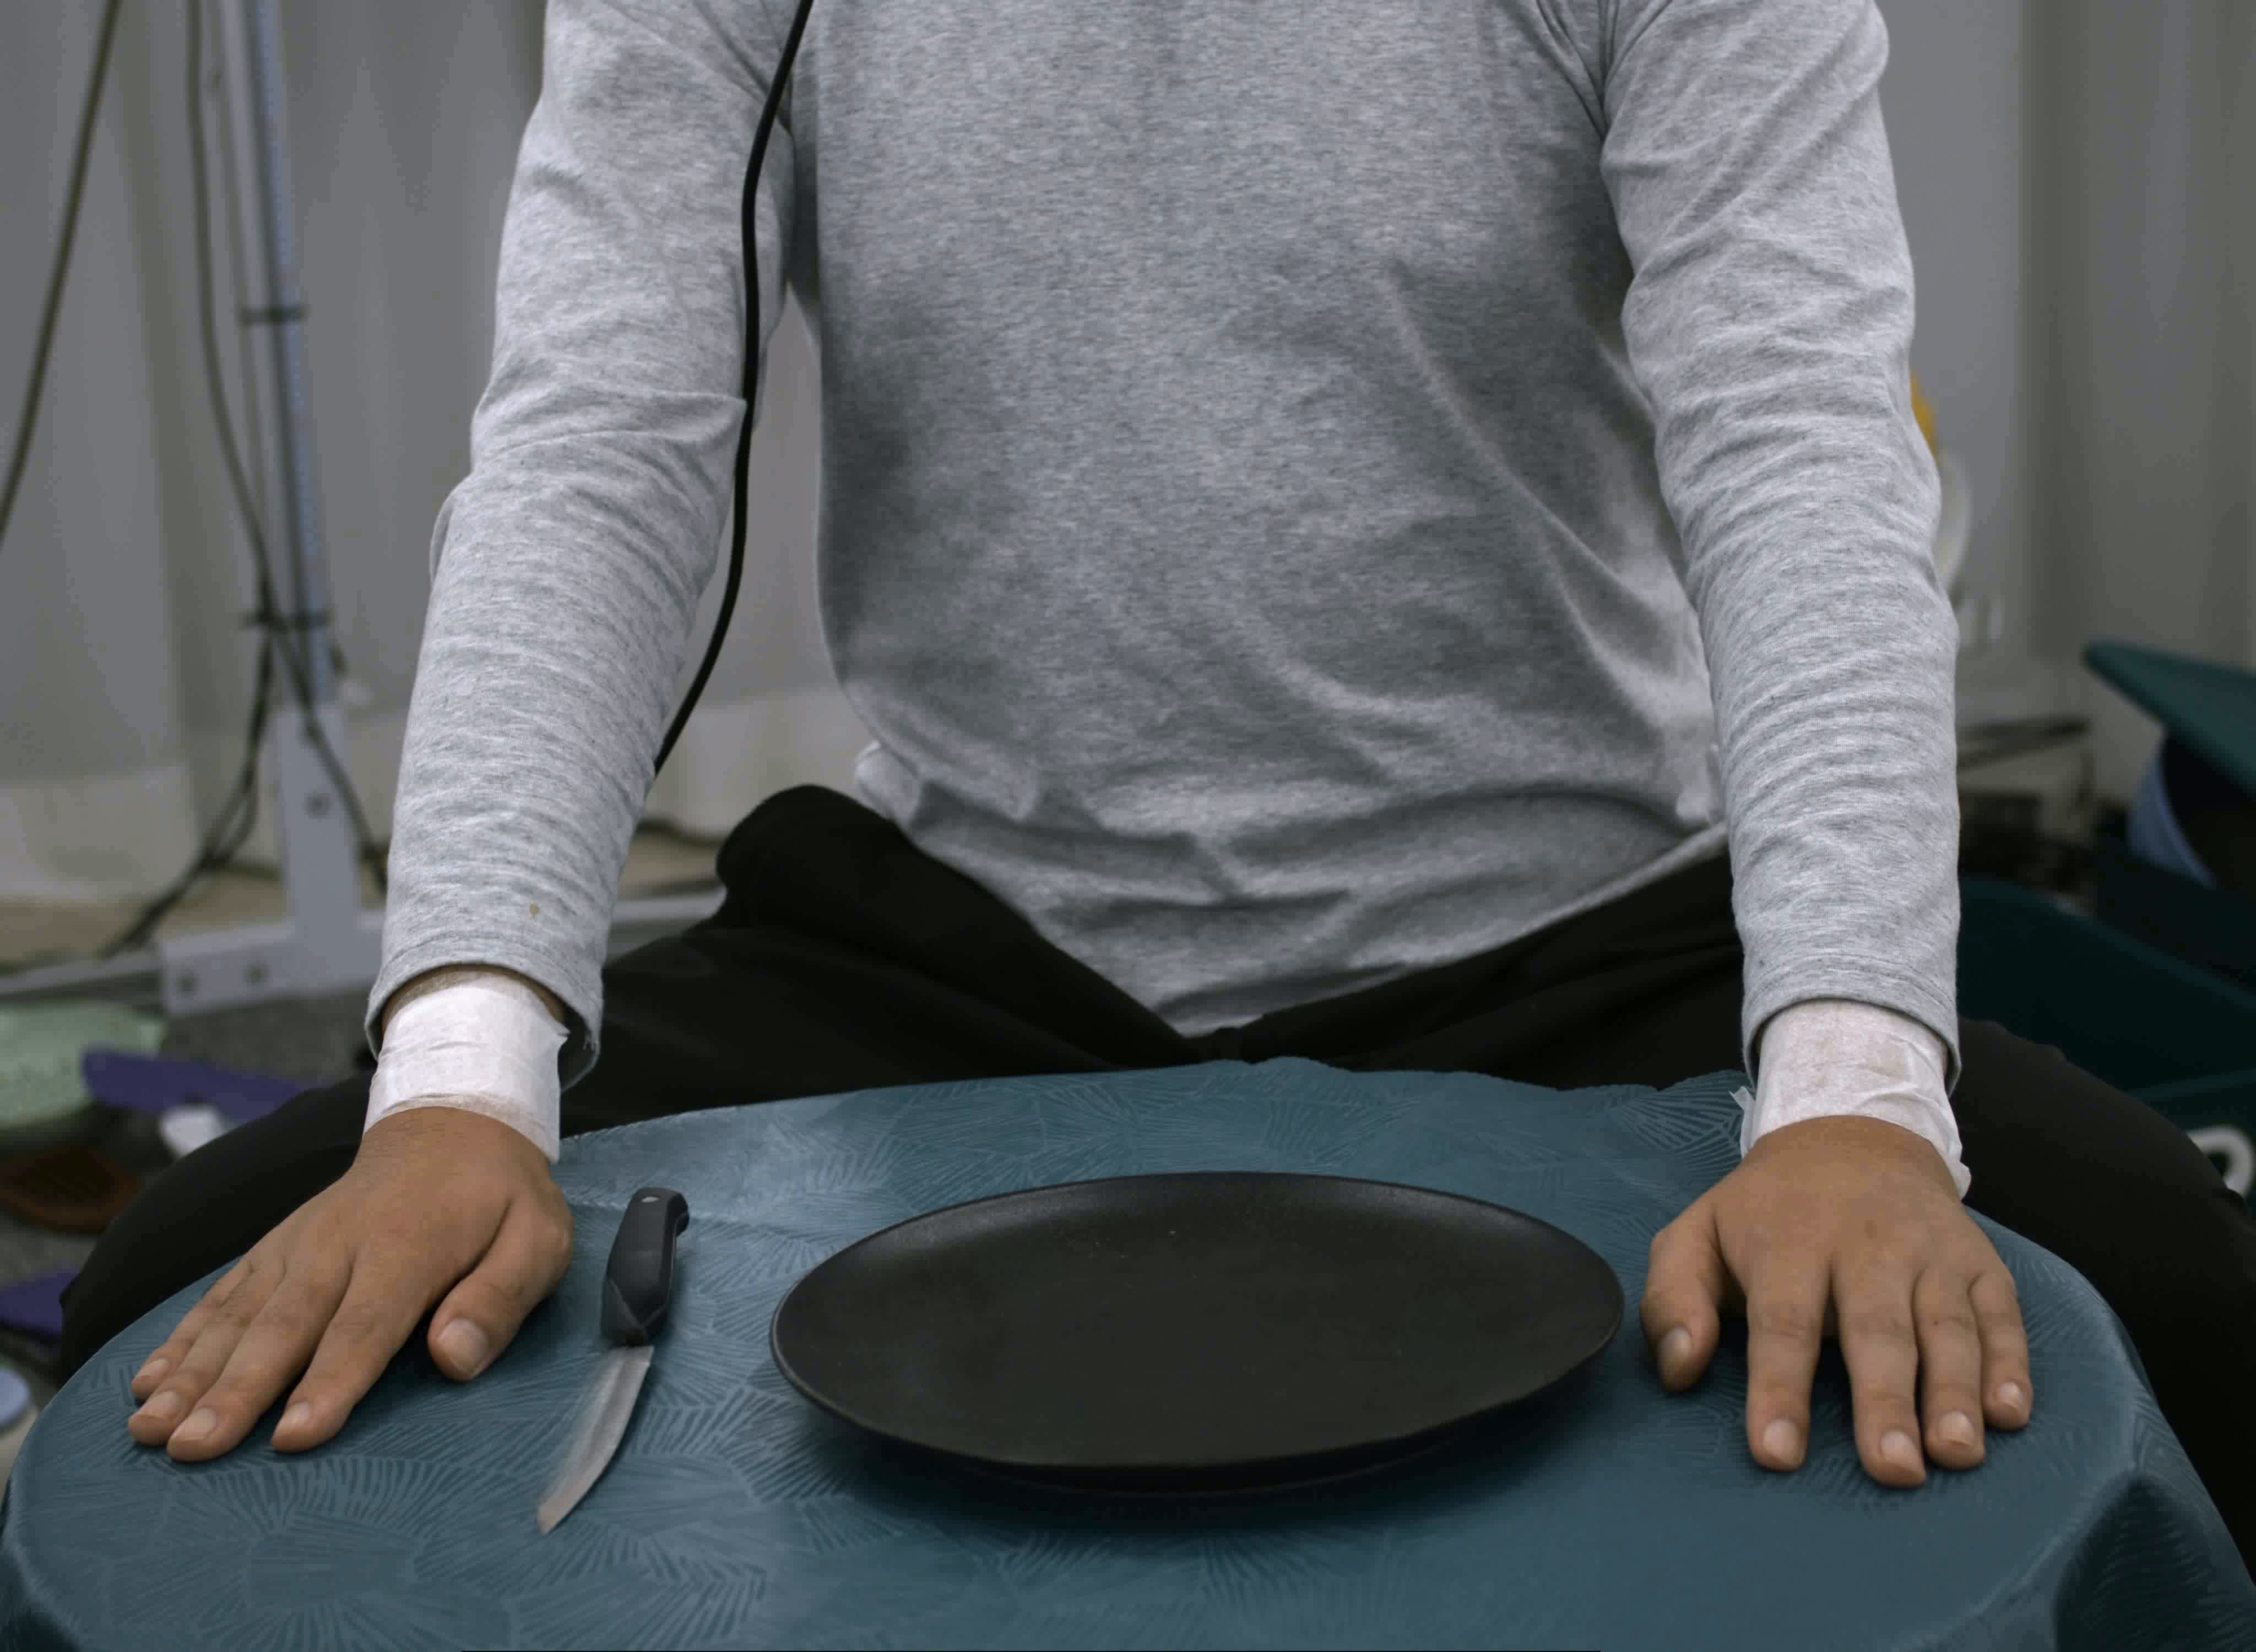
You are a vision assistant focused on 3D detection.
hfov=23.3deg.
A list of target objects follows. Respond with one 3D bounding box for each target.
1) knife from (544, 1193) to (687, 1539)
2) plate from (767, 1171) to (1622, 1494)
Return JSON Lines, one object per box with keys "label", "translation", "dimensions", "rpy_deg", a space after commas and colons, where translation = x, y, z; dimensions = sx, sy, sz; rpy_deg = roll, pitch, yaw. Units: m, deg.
{"label": "knife", "translation": [-0.150, 0.155, 1.574], "dimensions": [0.024, 0.016, 0.240], "rpy_deg": [-3, 17, 3]}
{"label": "plate", "translation": [0.019, 0.146, 1.551], "dimensions": [0.243, 0.023, 0.246], "rpy_deg": [-3, 15, 0]}
